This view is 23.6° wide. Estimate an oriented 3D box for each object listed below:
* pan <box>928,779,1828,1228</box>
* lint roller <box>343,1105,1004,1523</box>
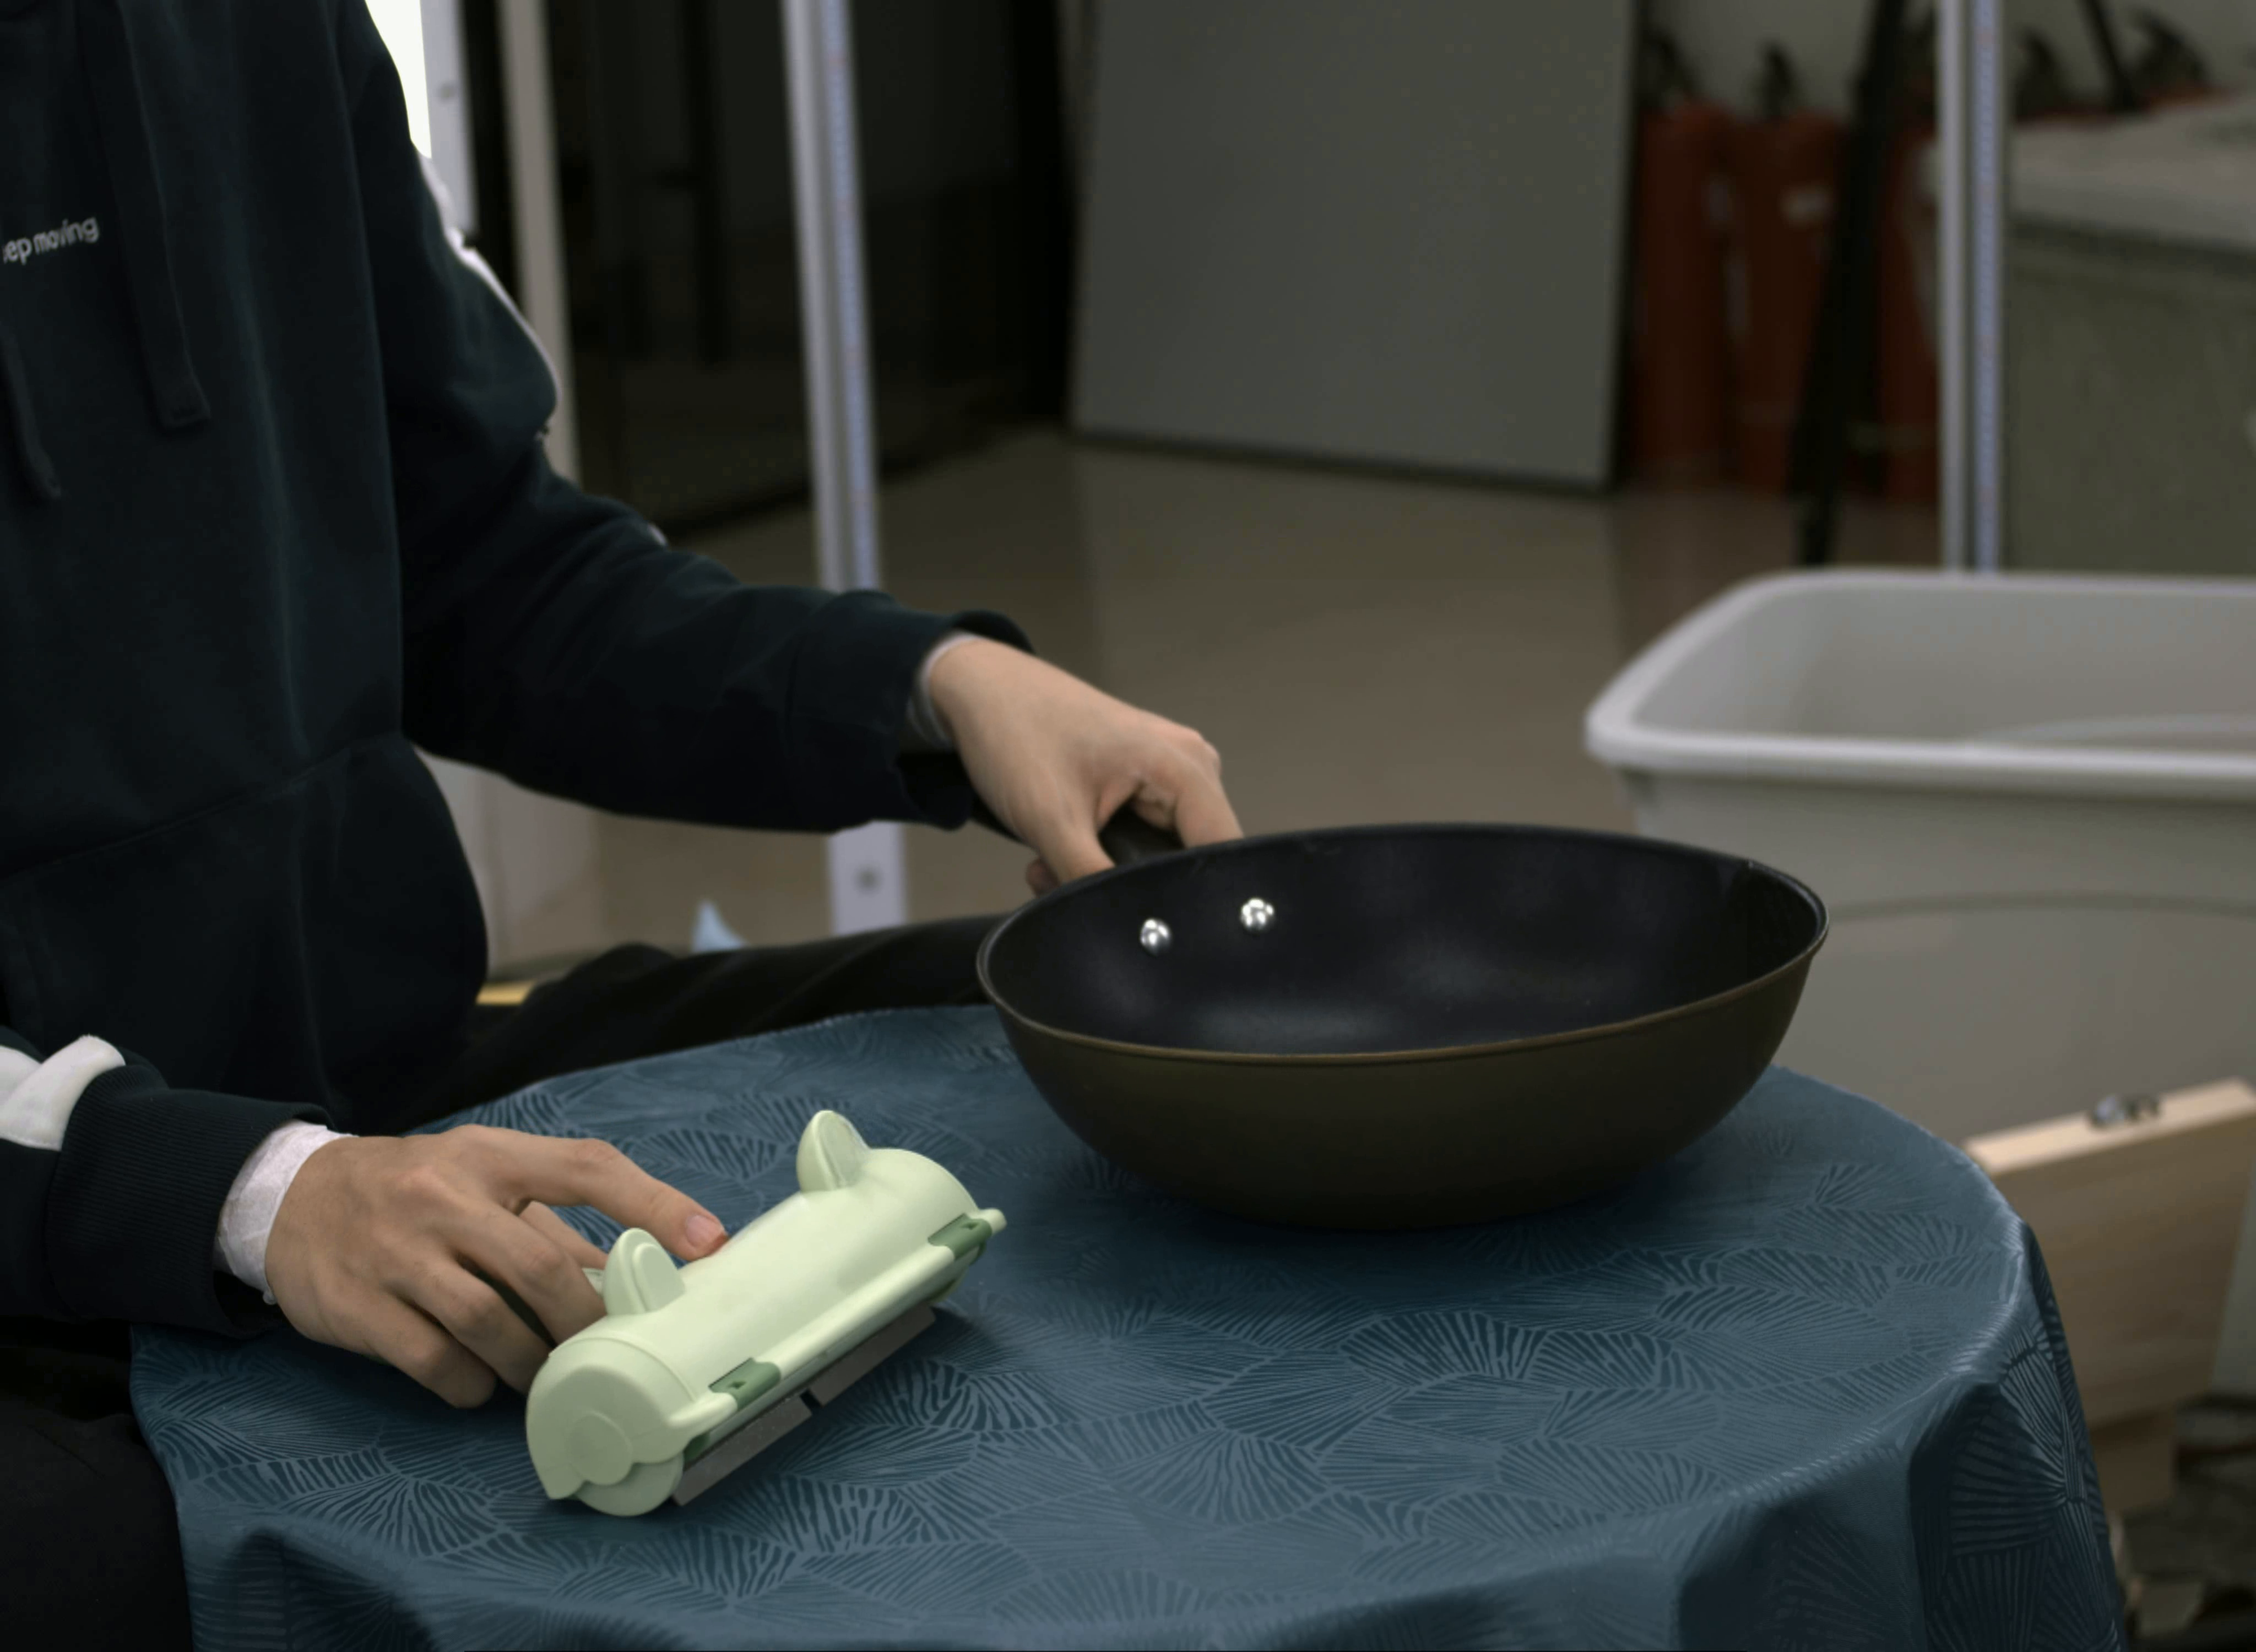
[{"bbox_3d":[0.044,0.056,1.846,0.282,0.088,0.468,-11,14,-29],"label":"pan"},{"bbox_3d":[-0.157,0.133,1.612,0.183,0.083,0.196,9,18,25],"label":"lint roller"}]
